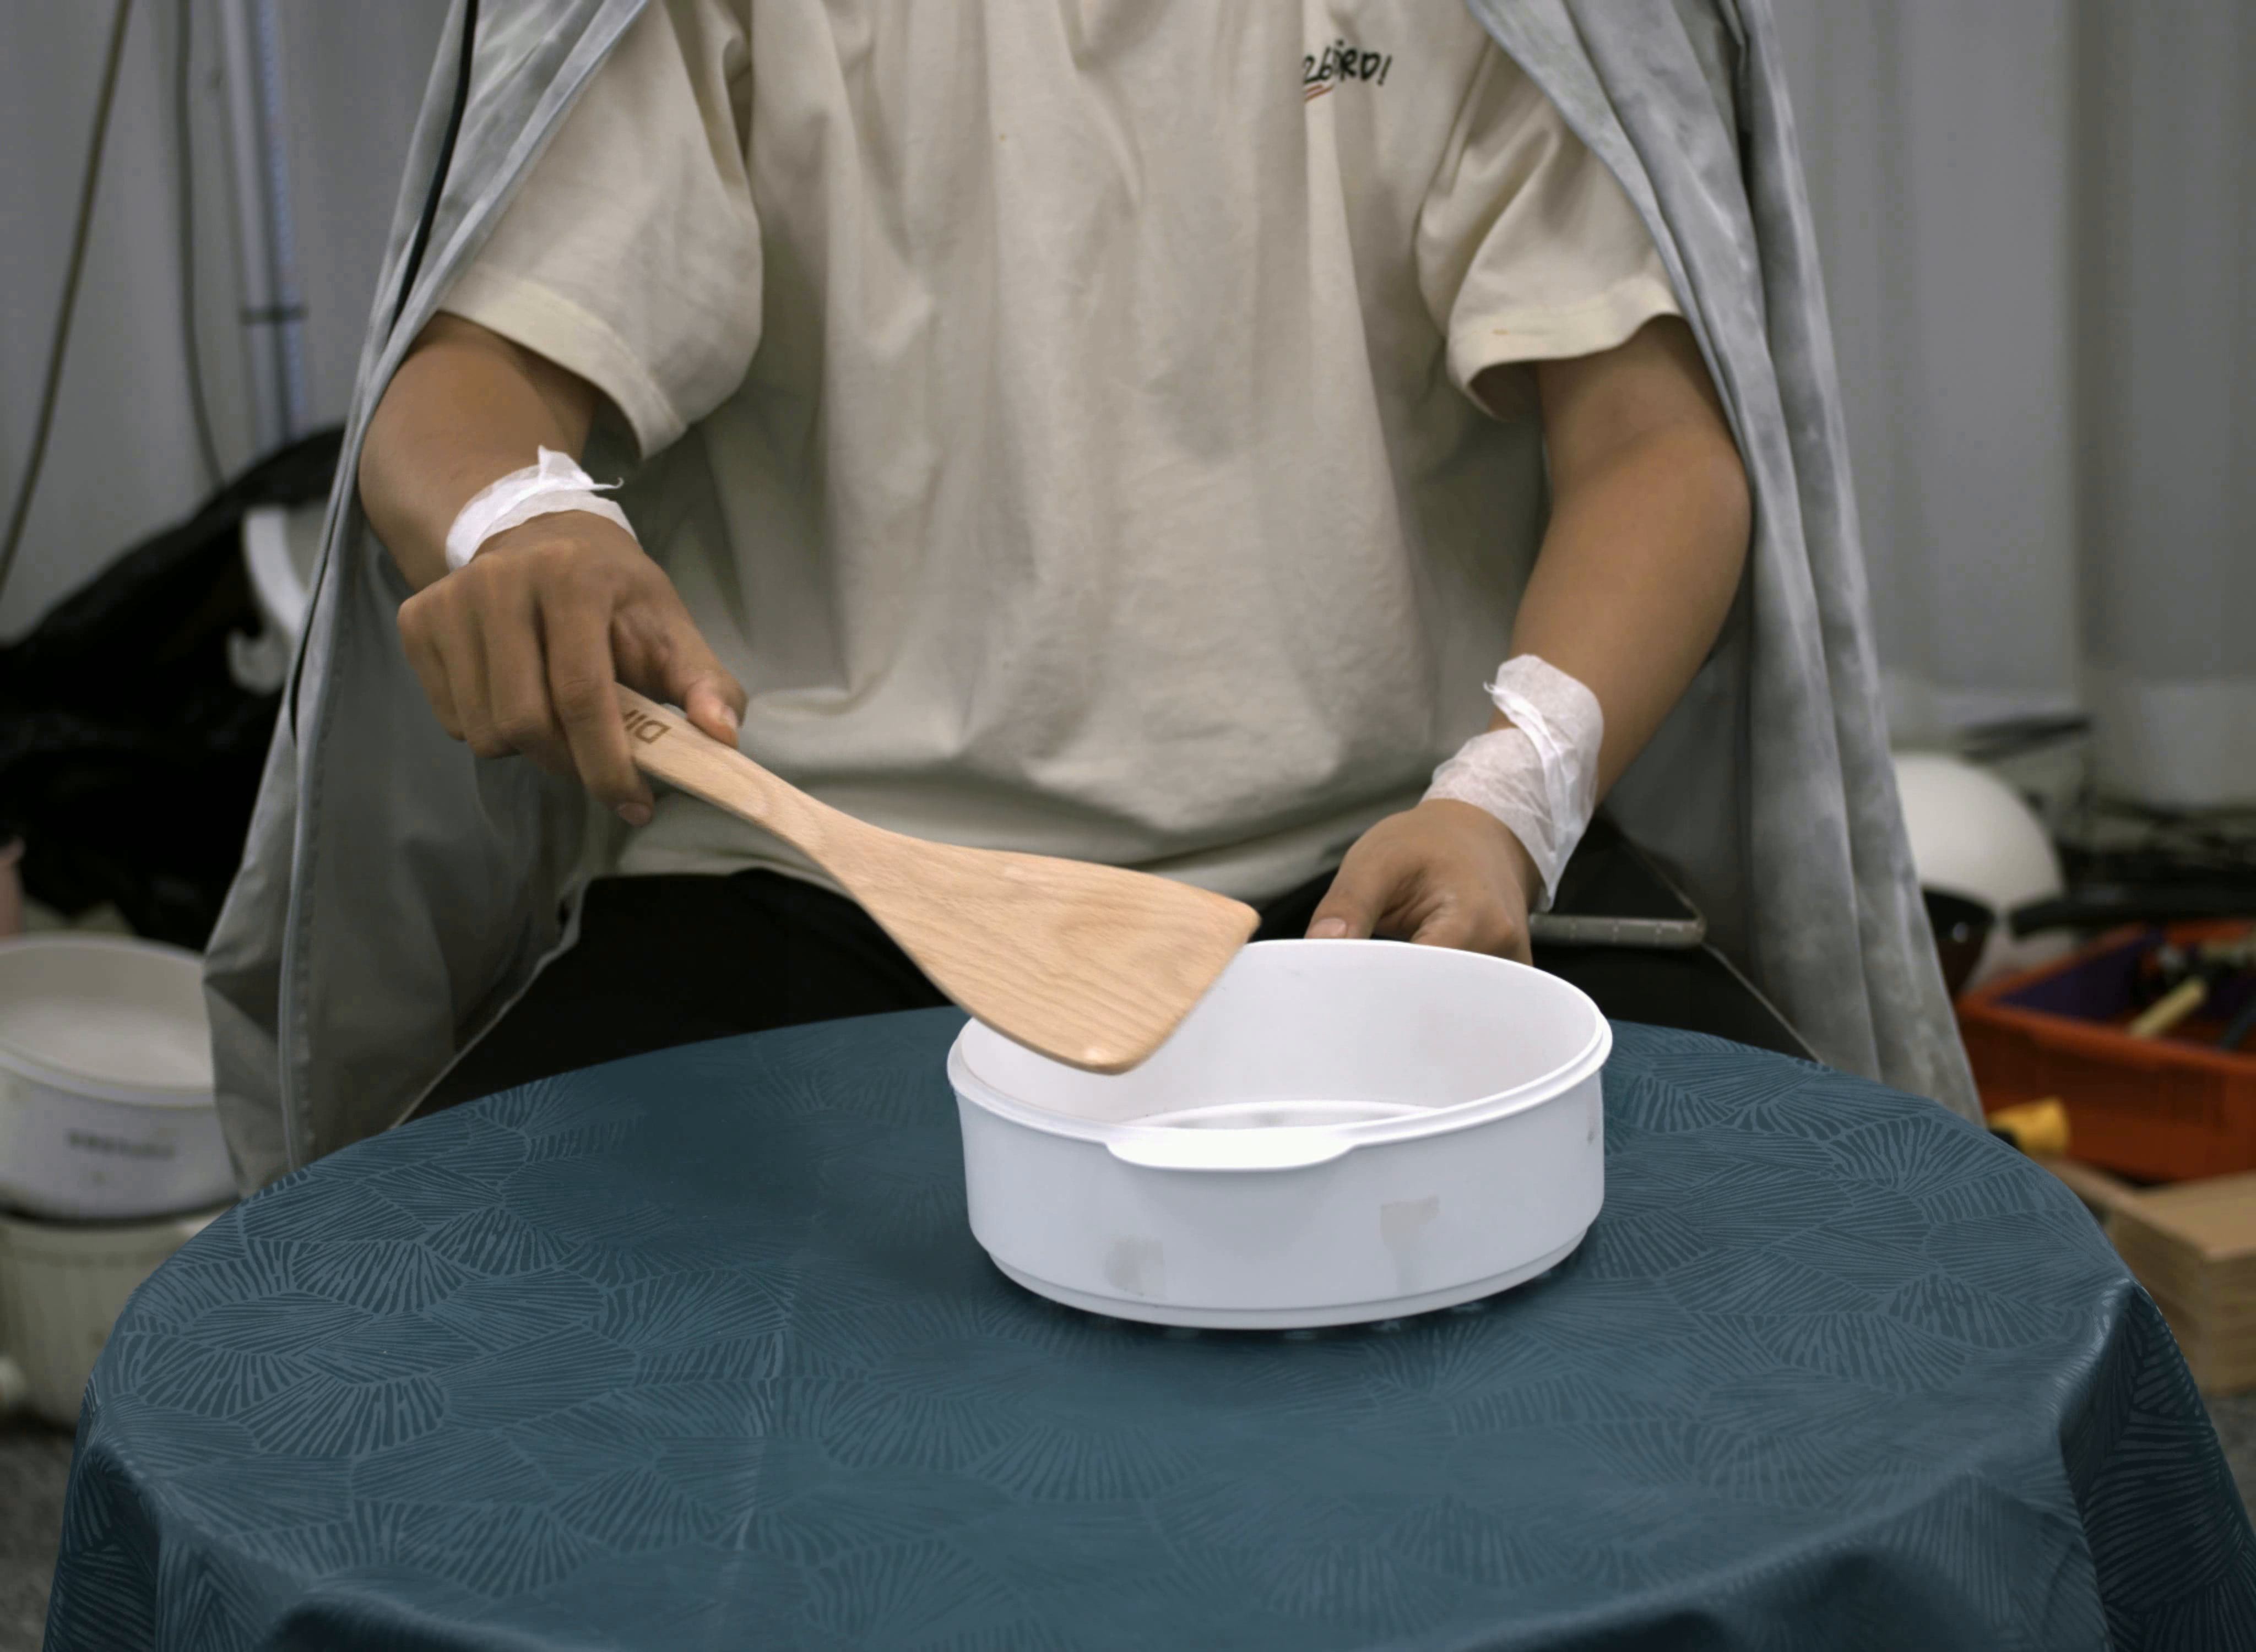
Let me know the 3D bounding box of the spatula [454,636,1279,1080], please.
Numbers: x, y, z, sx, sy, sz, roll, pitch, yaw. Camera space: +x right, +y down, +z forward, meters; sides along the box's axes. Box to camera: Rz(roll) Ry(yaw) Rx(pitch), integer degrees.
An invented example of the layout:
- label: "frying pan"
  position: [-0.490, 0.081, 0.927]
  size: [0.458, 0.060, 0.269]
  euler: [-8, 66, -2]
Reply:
- label: "spatula"
  position: [-0.090, -0.001, 1.675]
  size: [0.330, 0.016, 0.080]
  euler: [26, 50, 34]

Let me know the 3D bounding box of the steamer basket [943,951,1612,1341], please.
- label: "steamer basket"
  position: [0.045, 0.096, 1.654]
  size: [0.201, 0.069, 0.231]
  euler: [1, 15, 11]
